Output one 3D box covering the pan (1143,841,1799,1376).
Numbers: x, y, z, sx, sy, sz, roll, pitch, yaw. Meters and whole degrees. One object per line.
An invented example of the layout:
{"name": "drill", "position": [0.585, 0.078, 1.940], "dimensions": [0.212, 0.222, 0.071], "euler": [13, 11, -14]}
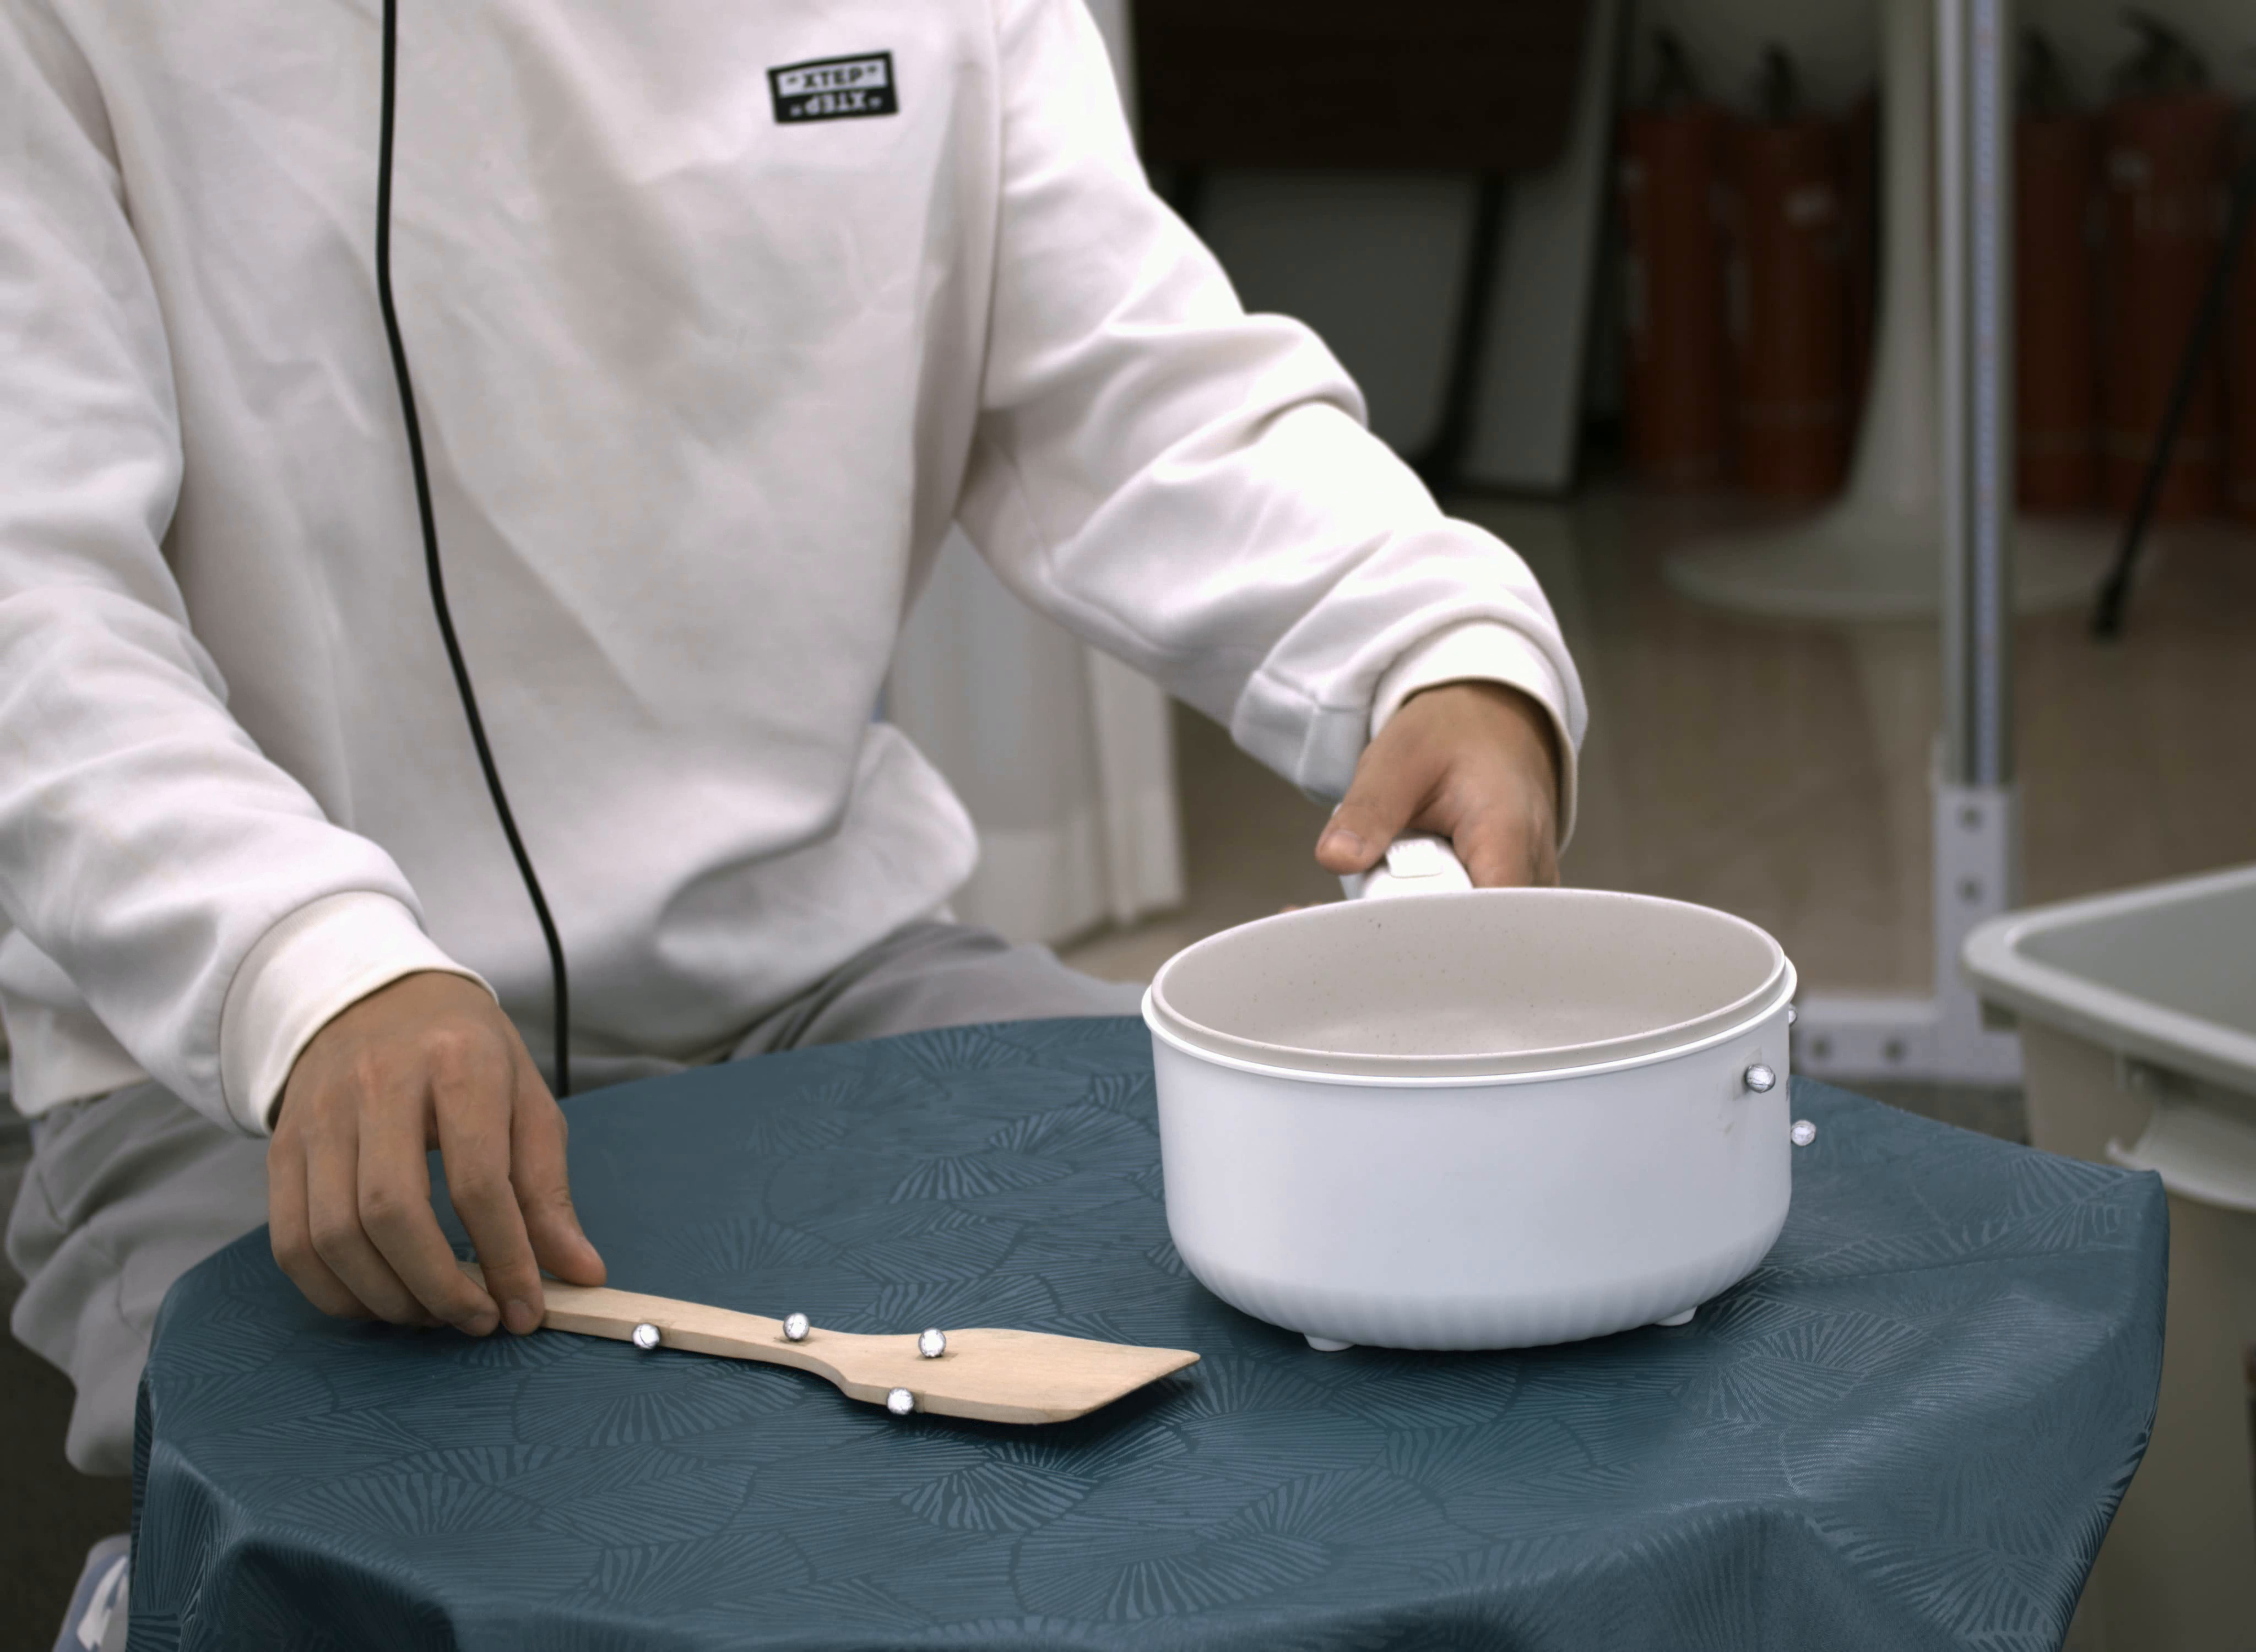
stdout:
{"name": "pan", "position": [0.104, 0.084, 1.727], "dimensions": [0.198, 0.103, 0.355], "euler": [-8, 10, -1]}
